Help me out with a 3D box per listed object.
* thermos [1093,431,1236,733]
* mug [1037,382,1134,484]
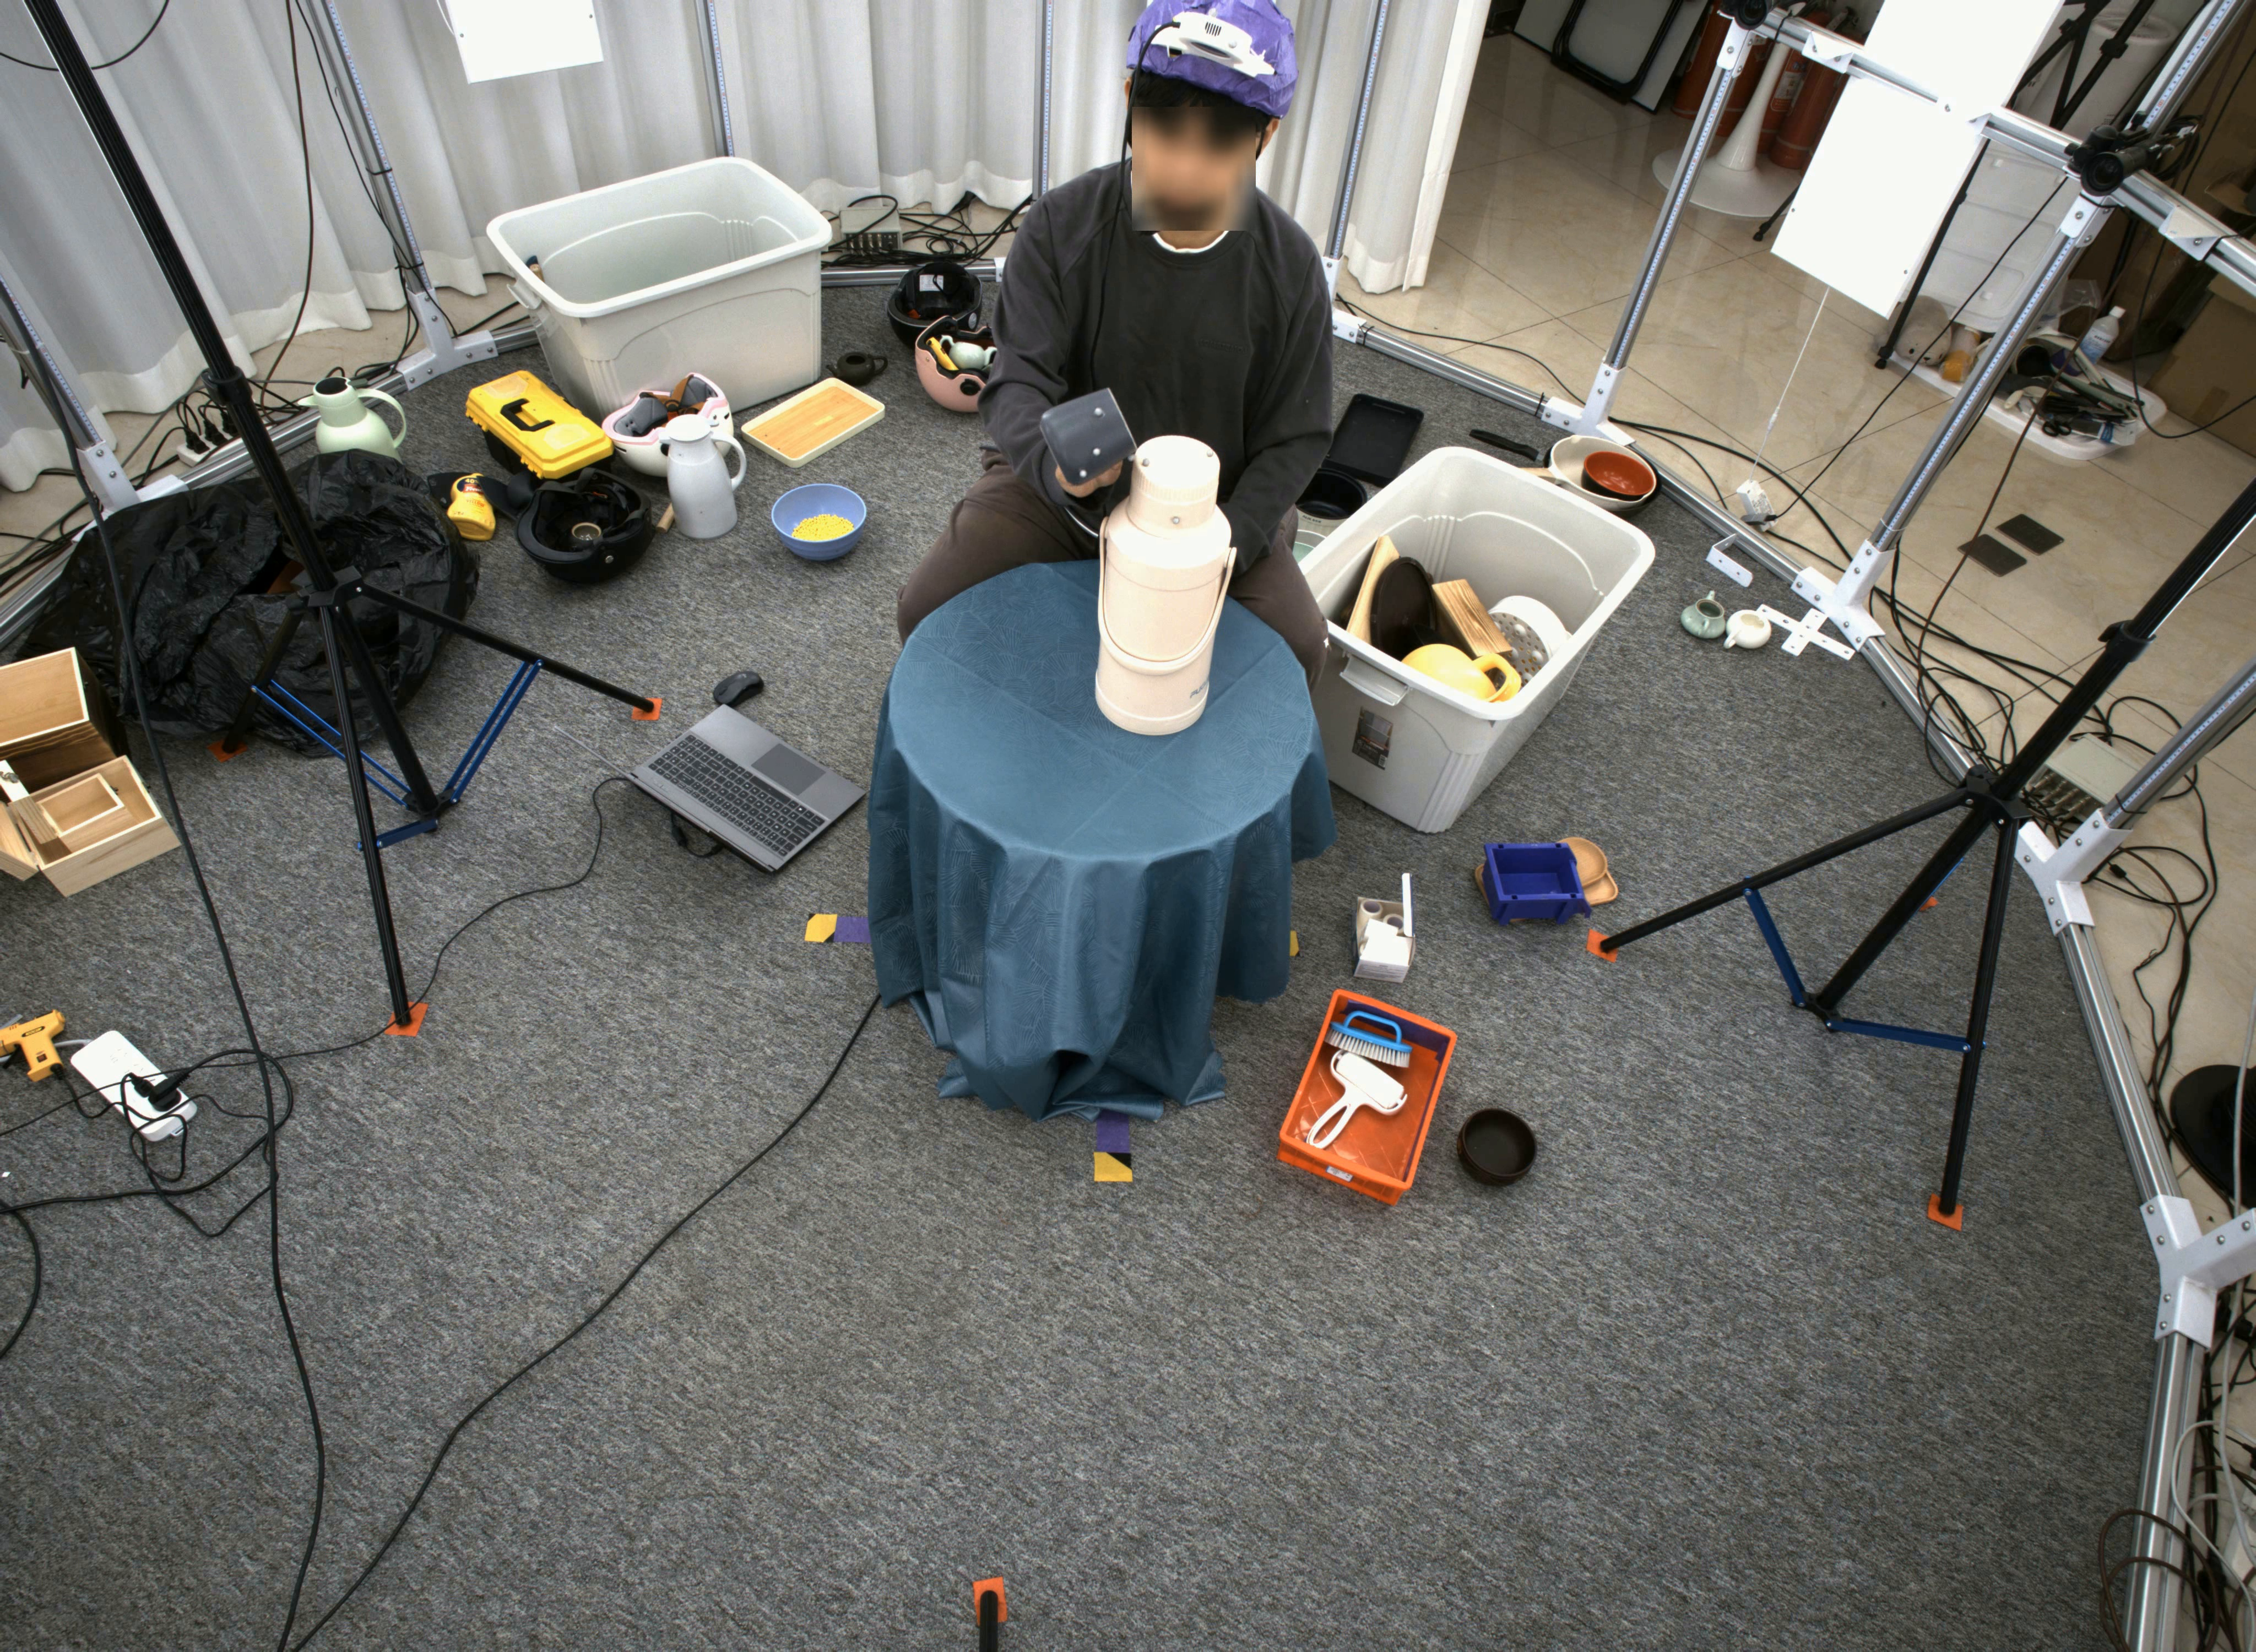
[{"bbox_3d":[0.049,-0.323,1.694,0.176,0.396,0.211,15,50,8],"label":"thermos"},{"bbox_3d":[-0.046,-0.451,1.501,0.090,0.122,0.094,-25,81,7],"label":"mug"}]
